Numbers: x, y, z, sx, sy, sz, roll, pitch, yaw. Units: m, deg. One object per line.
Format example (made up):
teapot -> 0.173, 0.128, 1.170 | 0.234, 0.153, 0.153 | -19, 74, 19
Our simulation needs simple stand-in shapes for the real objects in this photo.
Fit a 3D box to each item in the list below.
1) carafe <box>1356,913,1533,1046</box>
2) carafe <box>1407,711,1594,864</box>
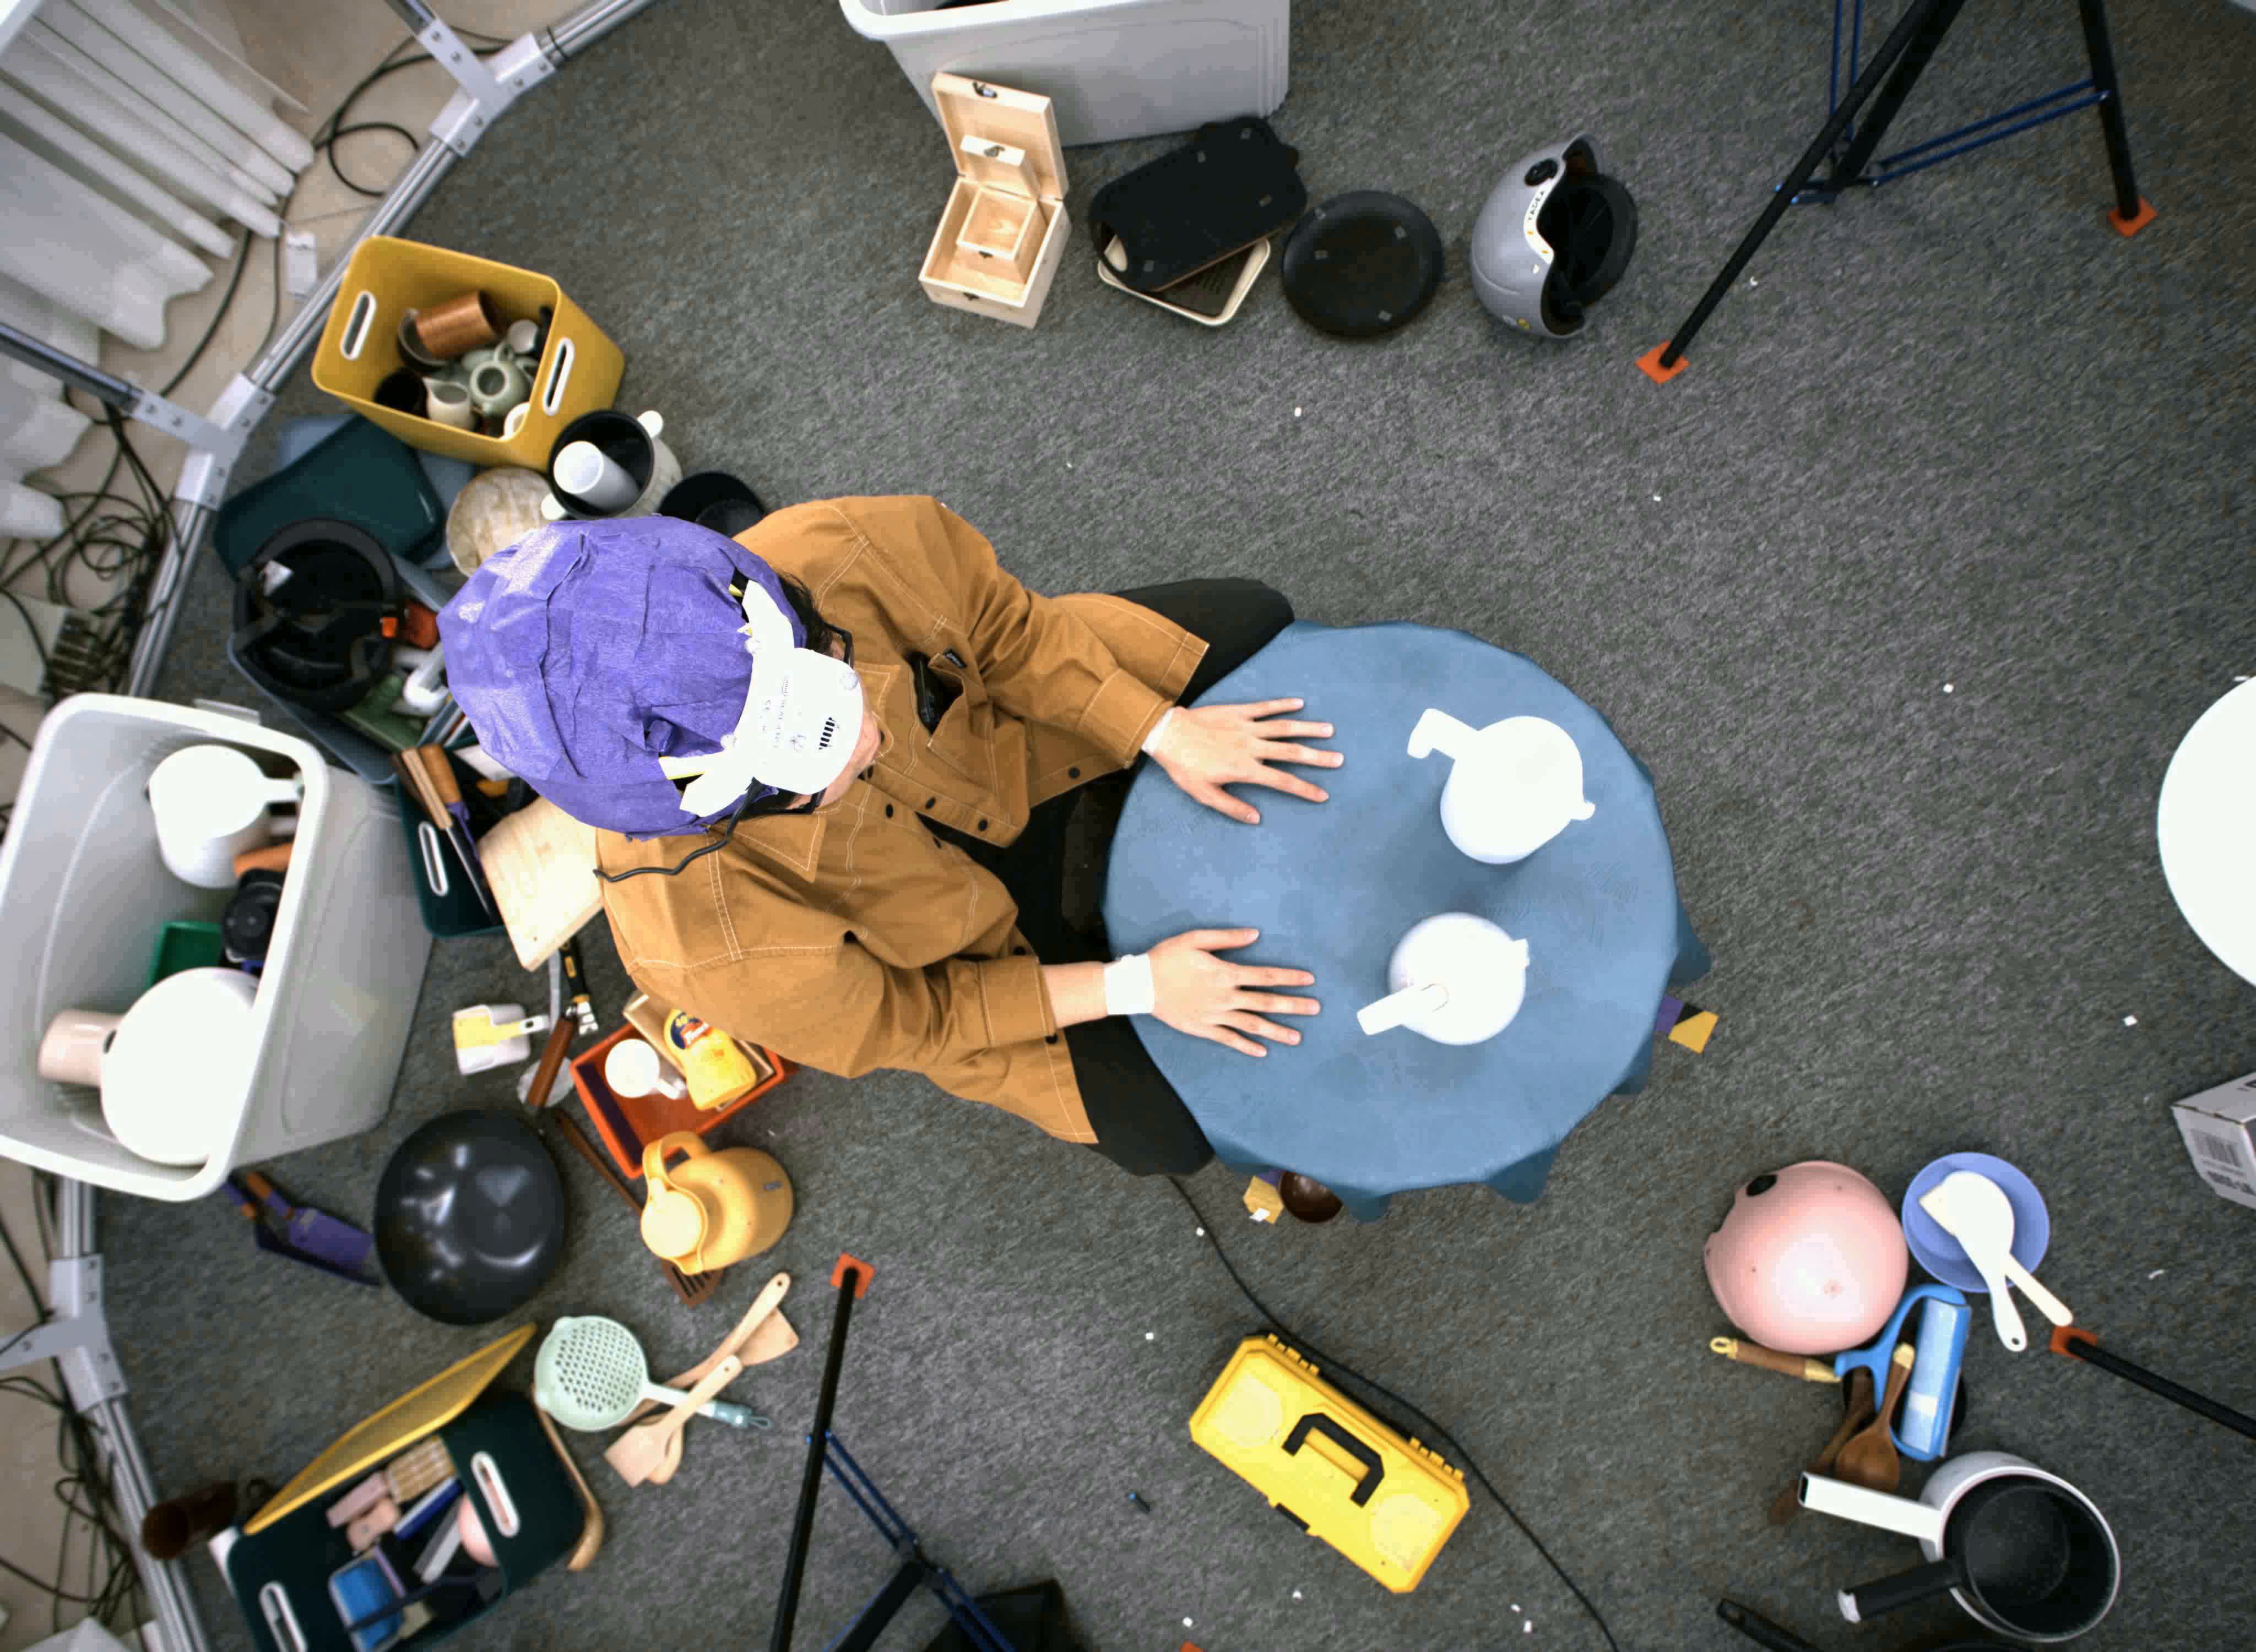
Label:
carafe -> 0.301, 0.154, 1.324 | 0.169, 0.248, 0.131 | -26, 81, 9
carafe -> 0.349, -0.040, 1.316 | 0.172, 0.268, 0.124 | 30, 92, 12
